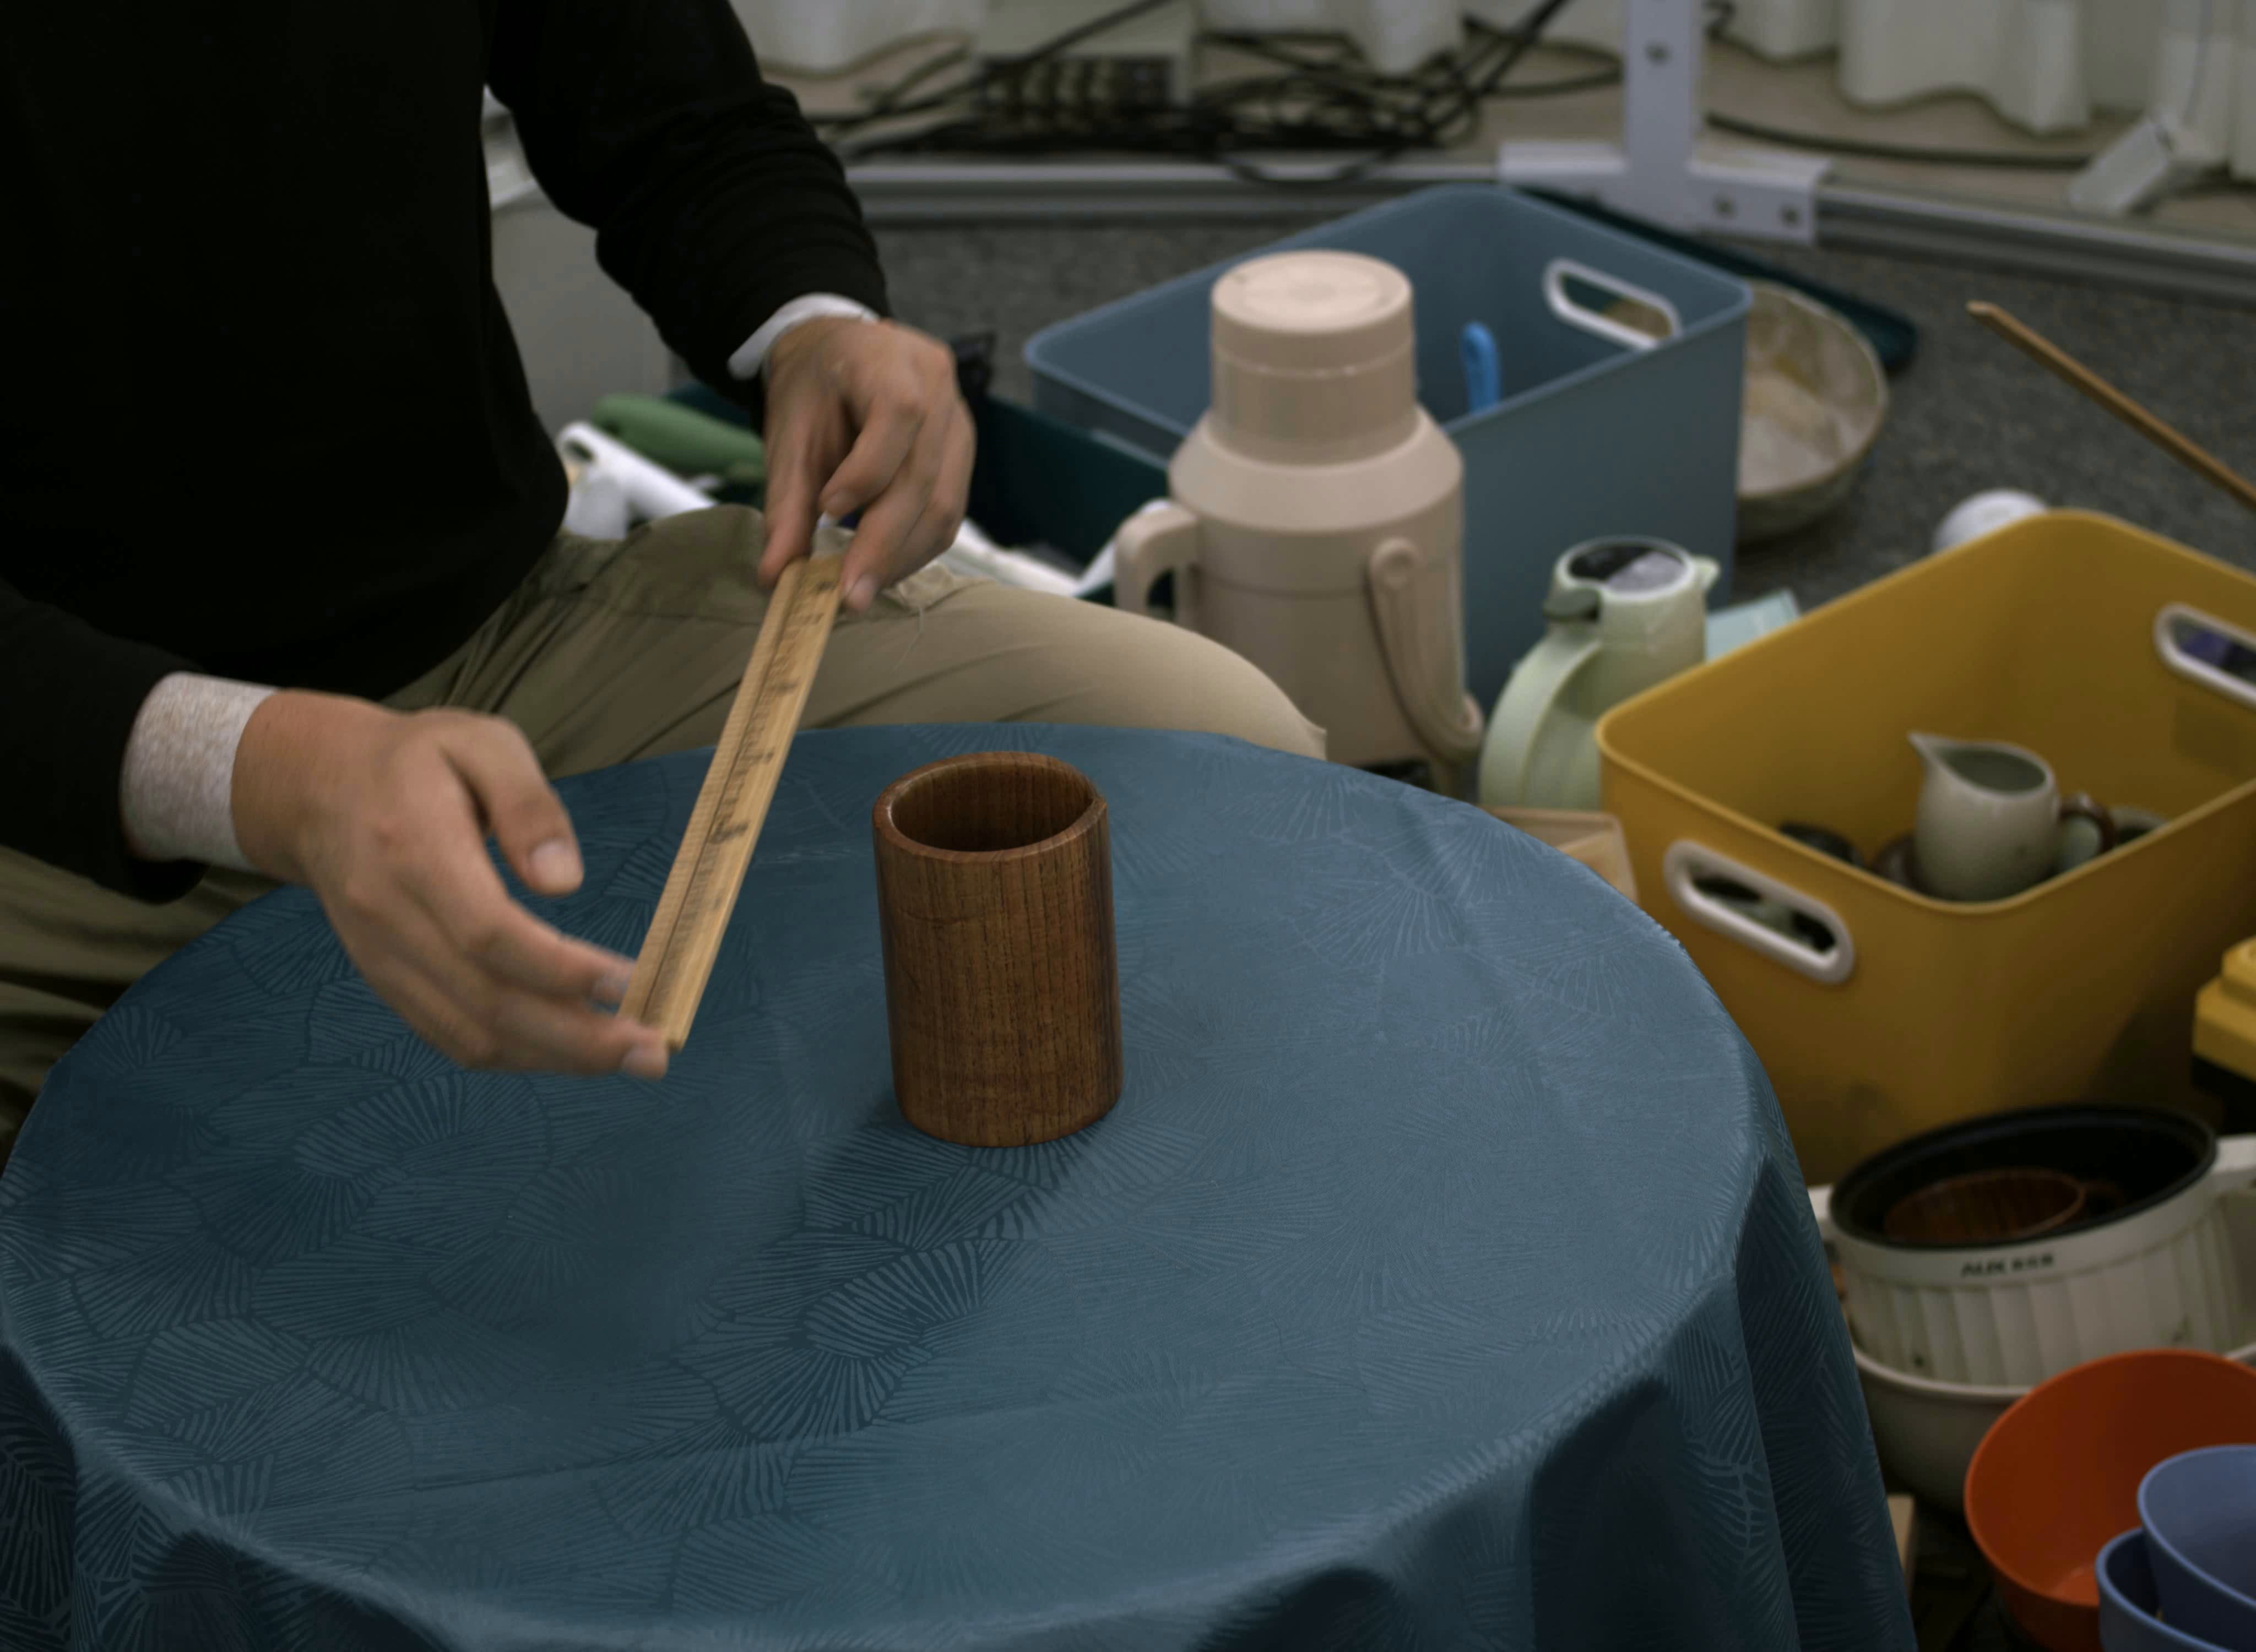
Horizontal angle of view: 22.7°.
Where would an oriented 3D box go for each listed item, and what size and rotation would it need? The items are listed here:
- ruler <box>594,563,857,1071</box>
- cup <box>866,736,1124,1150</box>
[{"bbox_3d":[-0.131,-0.011,1.866,0.027,0.022,0.337,-1,29,9],"label":"ruler"},{"bbox_3d":[-0.043,0.040,1.898,0.087,0.117,0.089,-2,26,1],"label":"cup"}]
